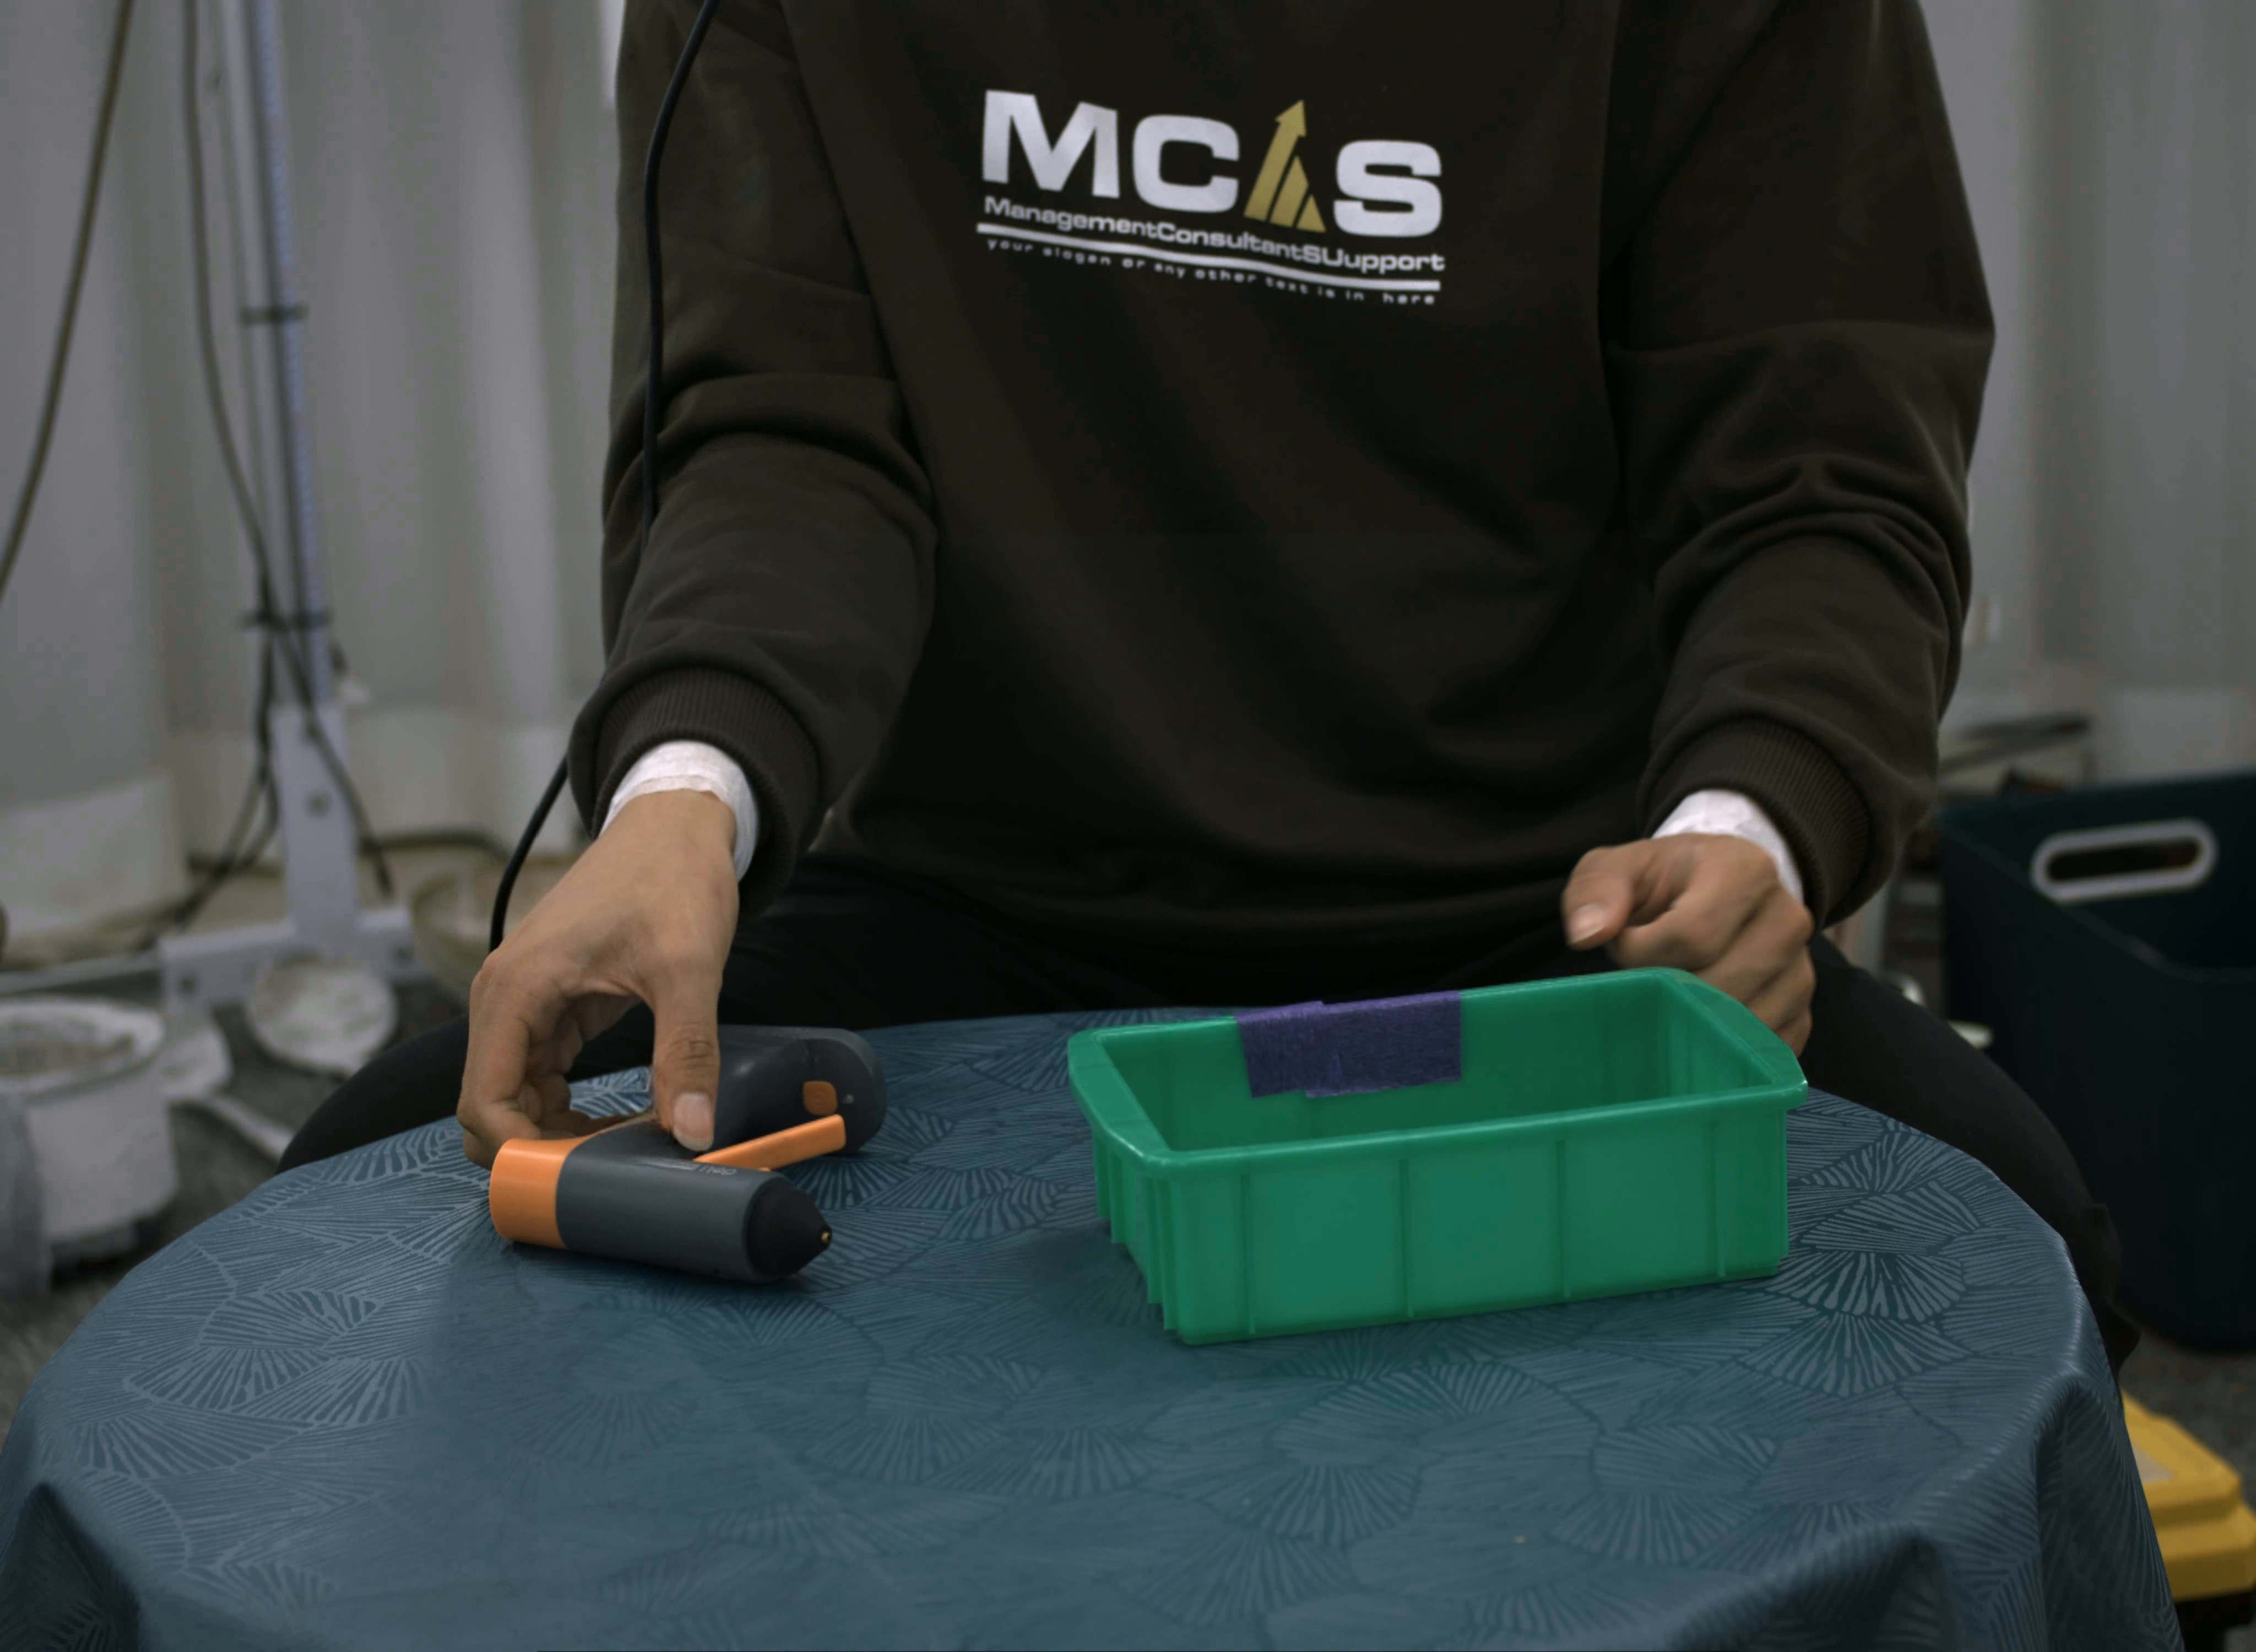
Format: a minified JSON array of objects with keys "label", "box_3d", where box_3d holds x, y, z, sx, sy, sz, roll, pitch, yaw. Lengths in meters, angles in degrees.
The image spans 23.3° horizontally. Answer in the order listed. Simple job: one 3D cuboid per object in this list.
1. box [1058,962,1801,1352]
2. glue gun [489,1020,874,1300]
[{"label":"box","box_3d":[0.089,0.099,1.639,0.209,0.065,0.139,-8,14,-11]},{"label":"glue gun","box_3d":[-0.128,0.106,1.709,0.118,0.041,0.140,6,19,14]}]
